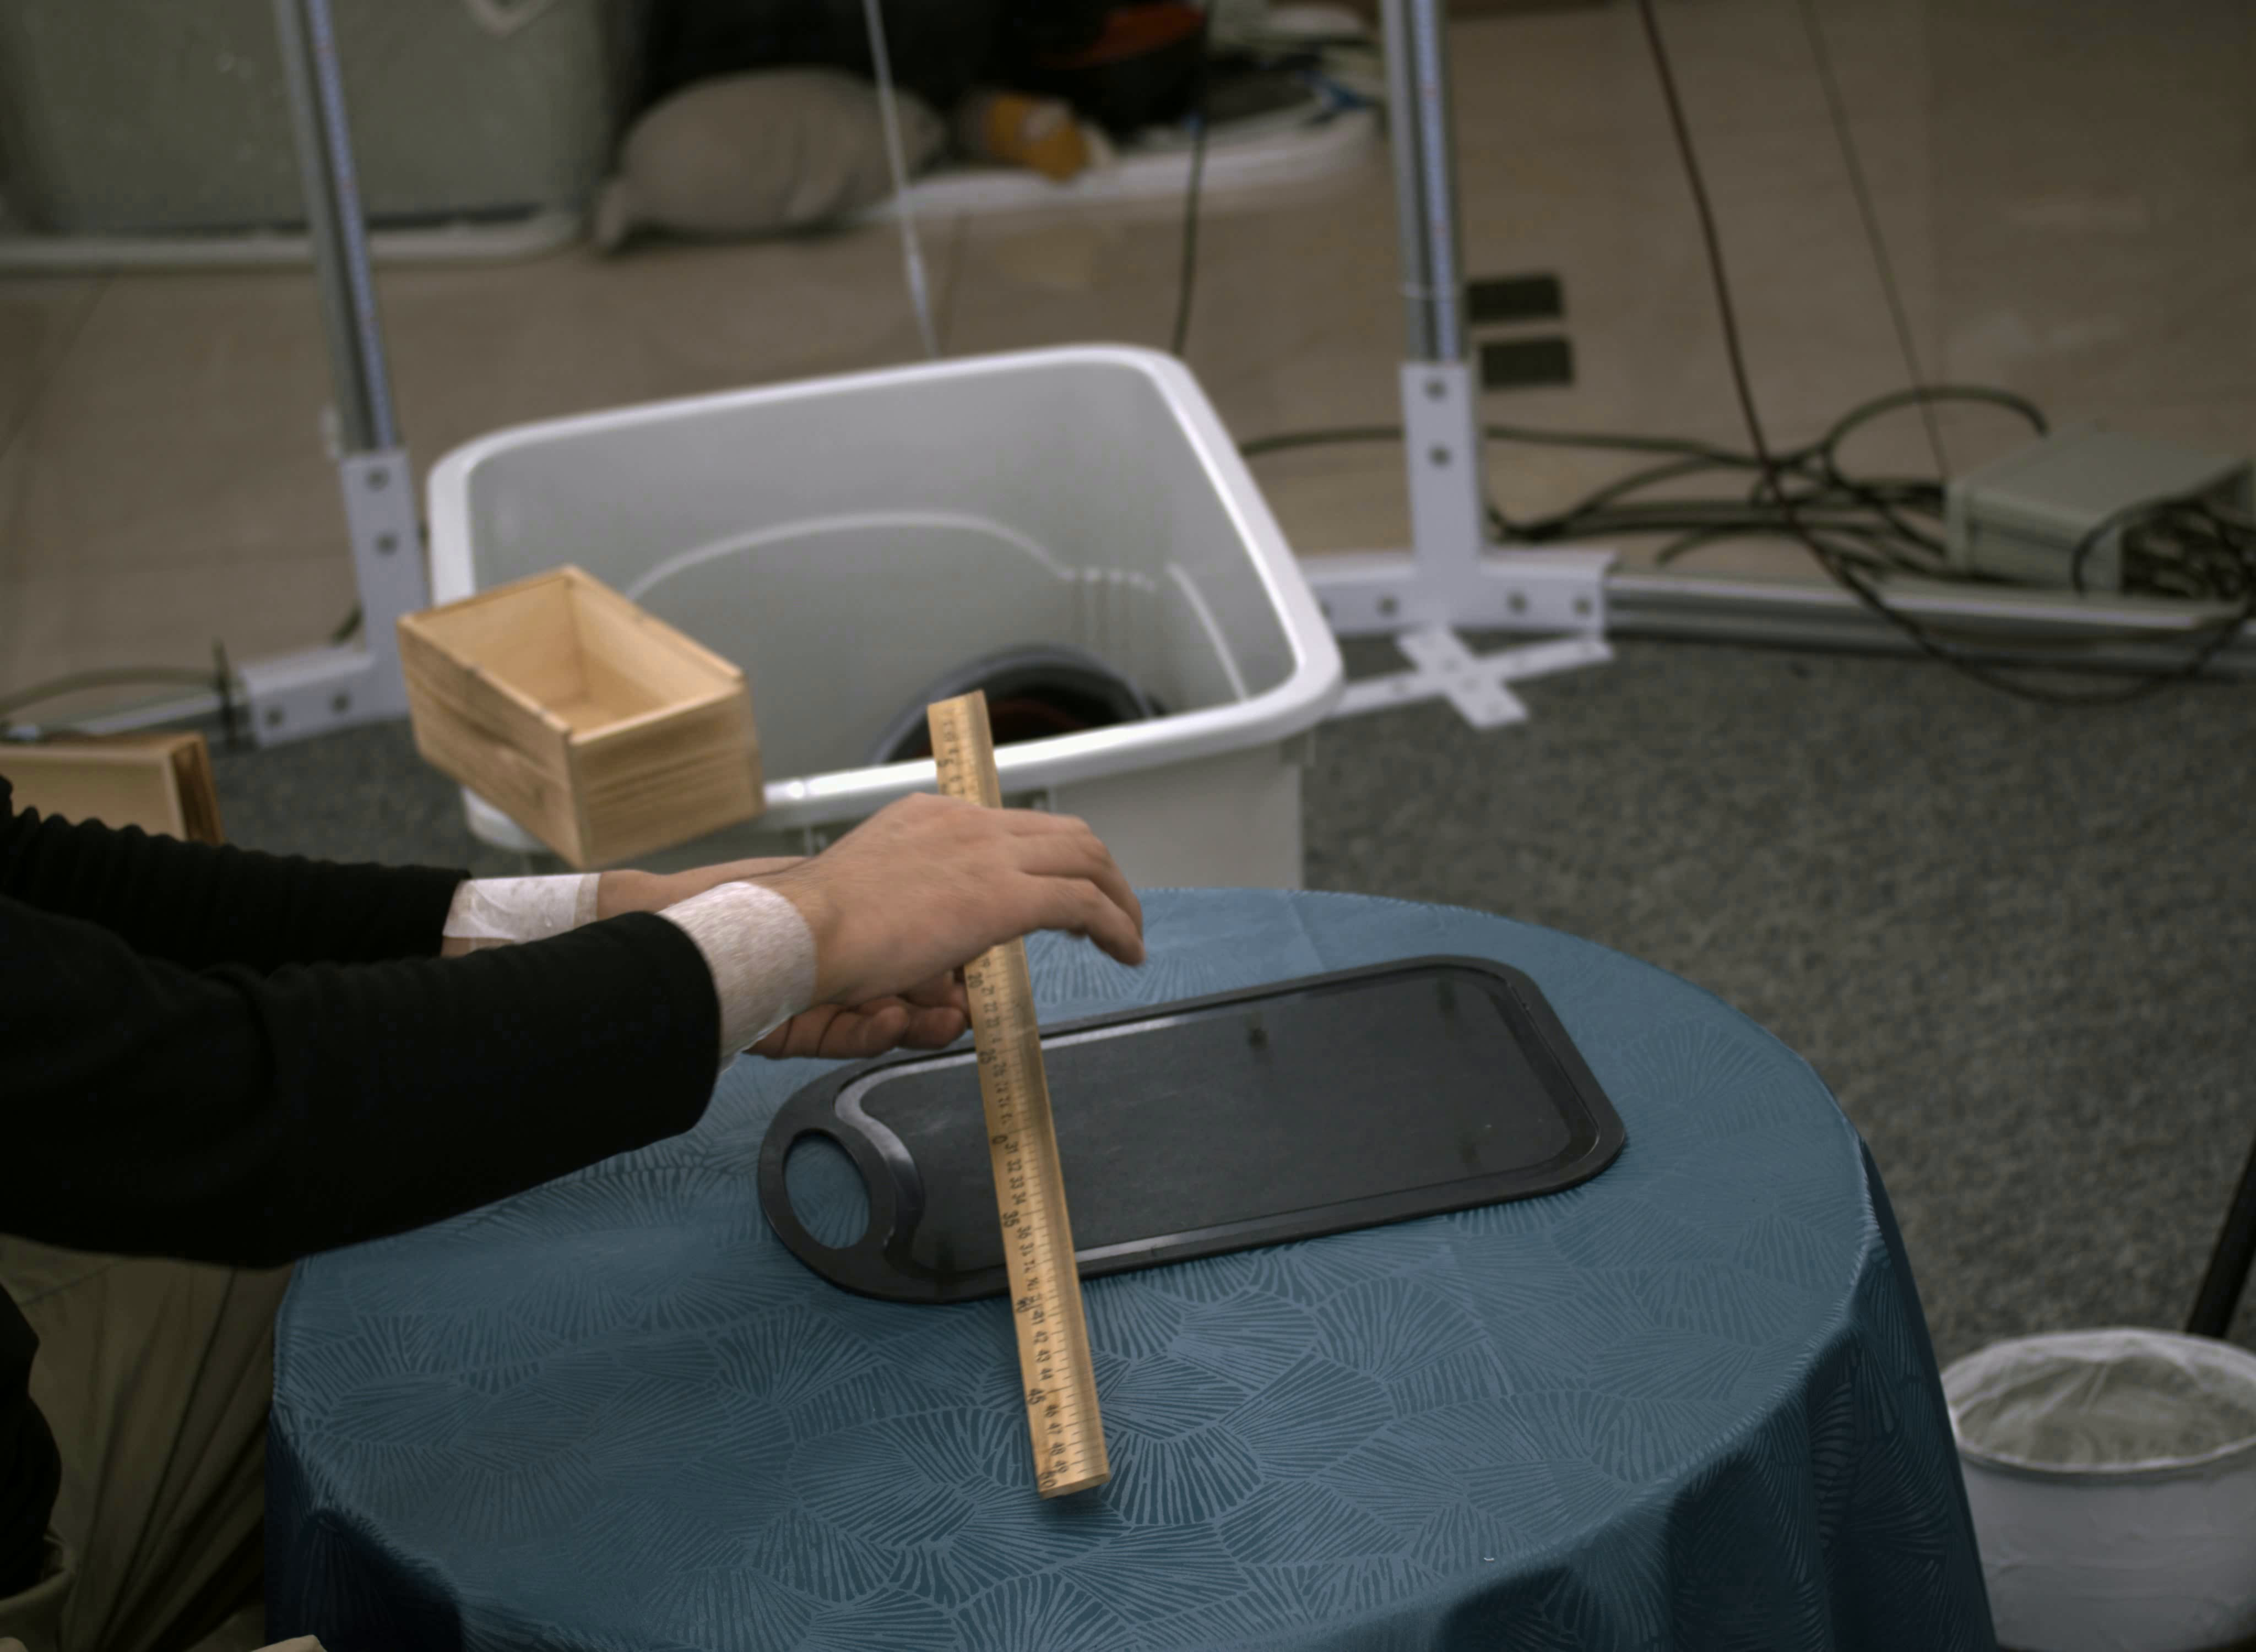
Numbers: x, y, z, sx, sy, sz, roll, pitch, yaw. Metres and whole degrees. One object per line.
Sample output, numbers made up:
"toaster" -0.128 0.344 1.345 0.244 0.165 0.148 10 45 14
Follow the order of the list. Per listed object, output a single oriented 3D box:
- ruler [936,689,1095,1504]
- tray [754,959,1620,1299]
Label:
"ruler" -0.046 0.088 2.134 0.027 0.006 0.491 -19 35 7
"tray" 0.017 0.114 2.186 0.325 0.010 0.208 -9 25 -7
